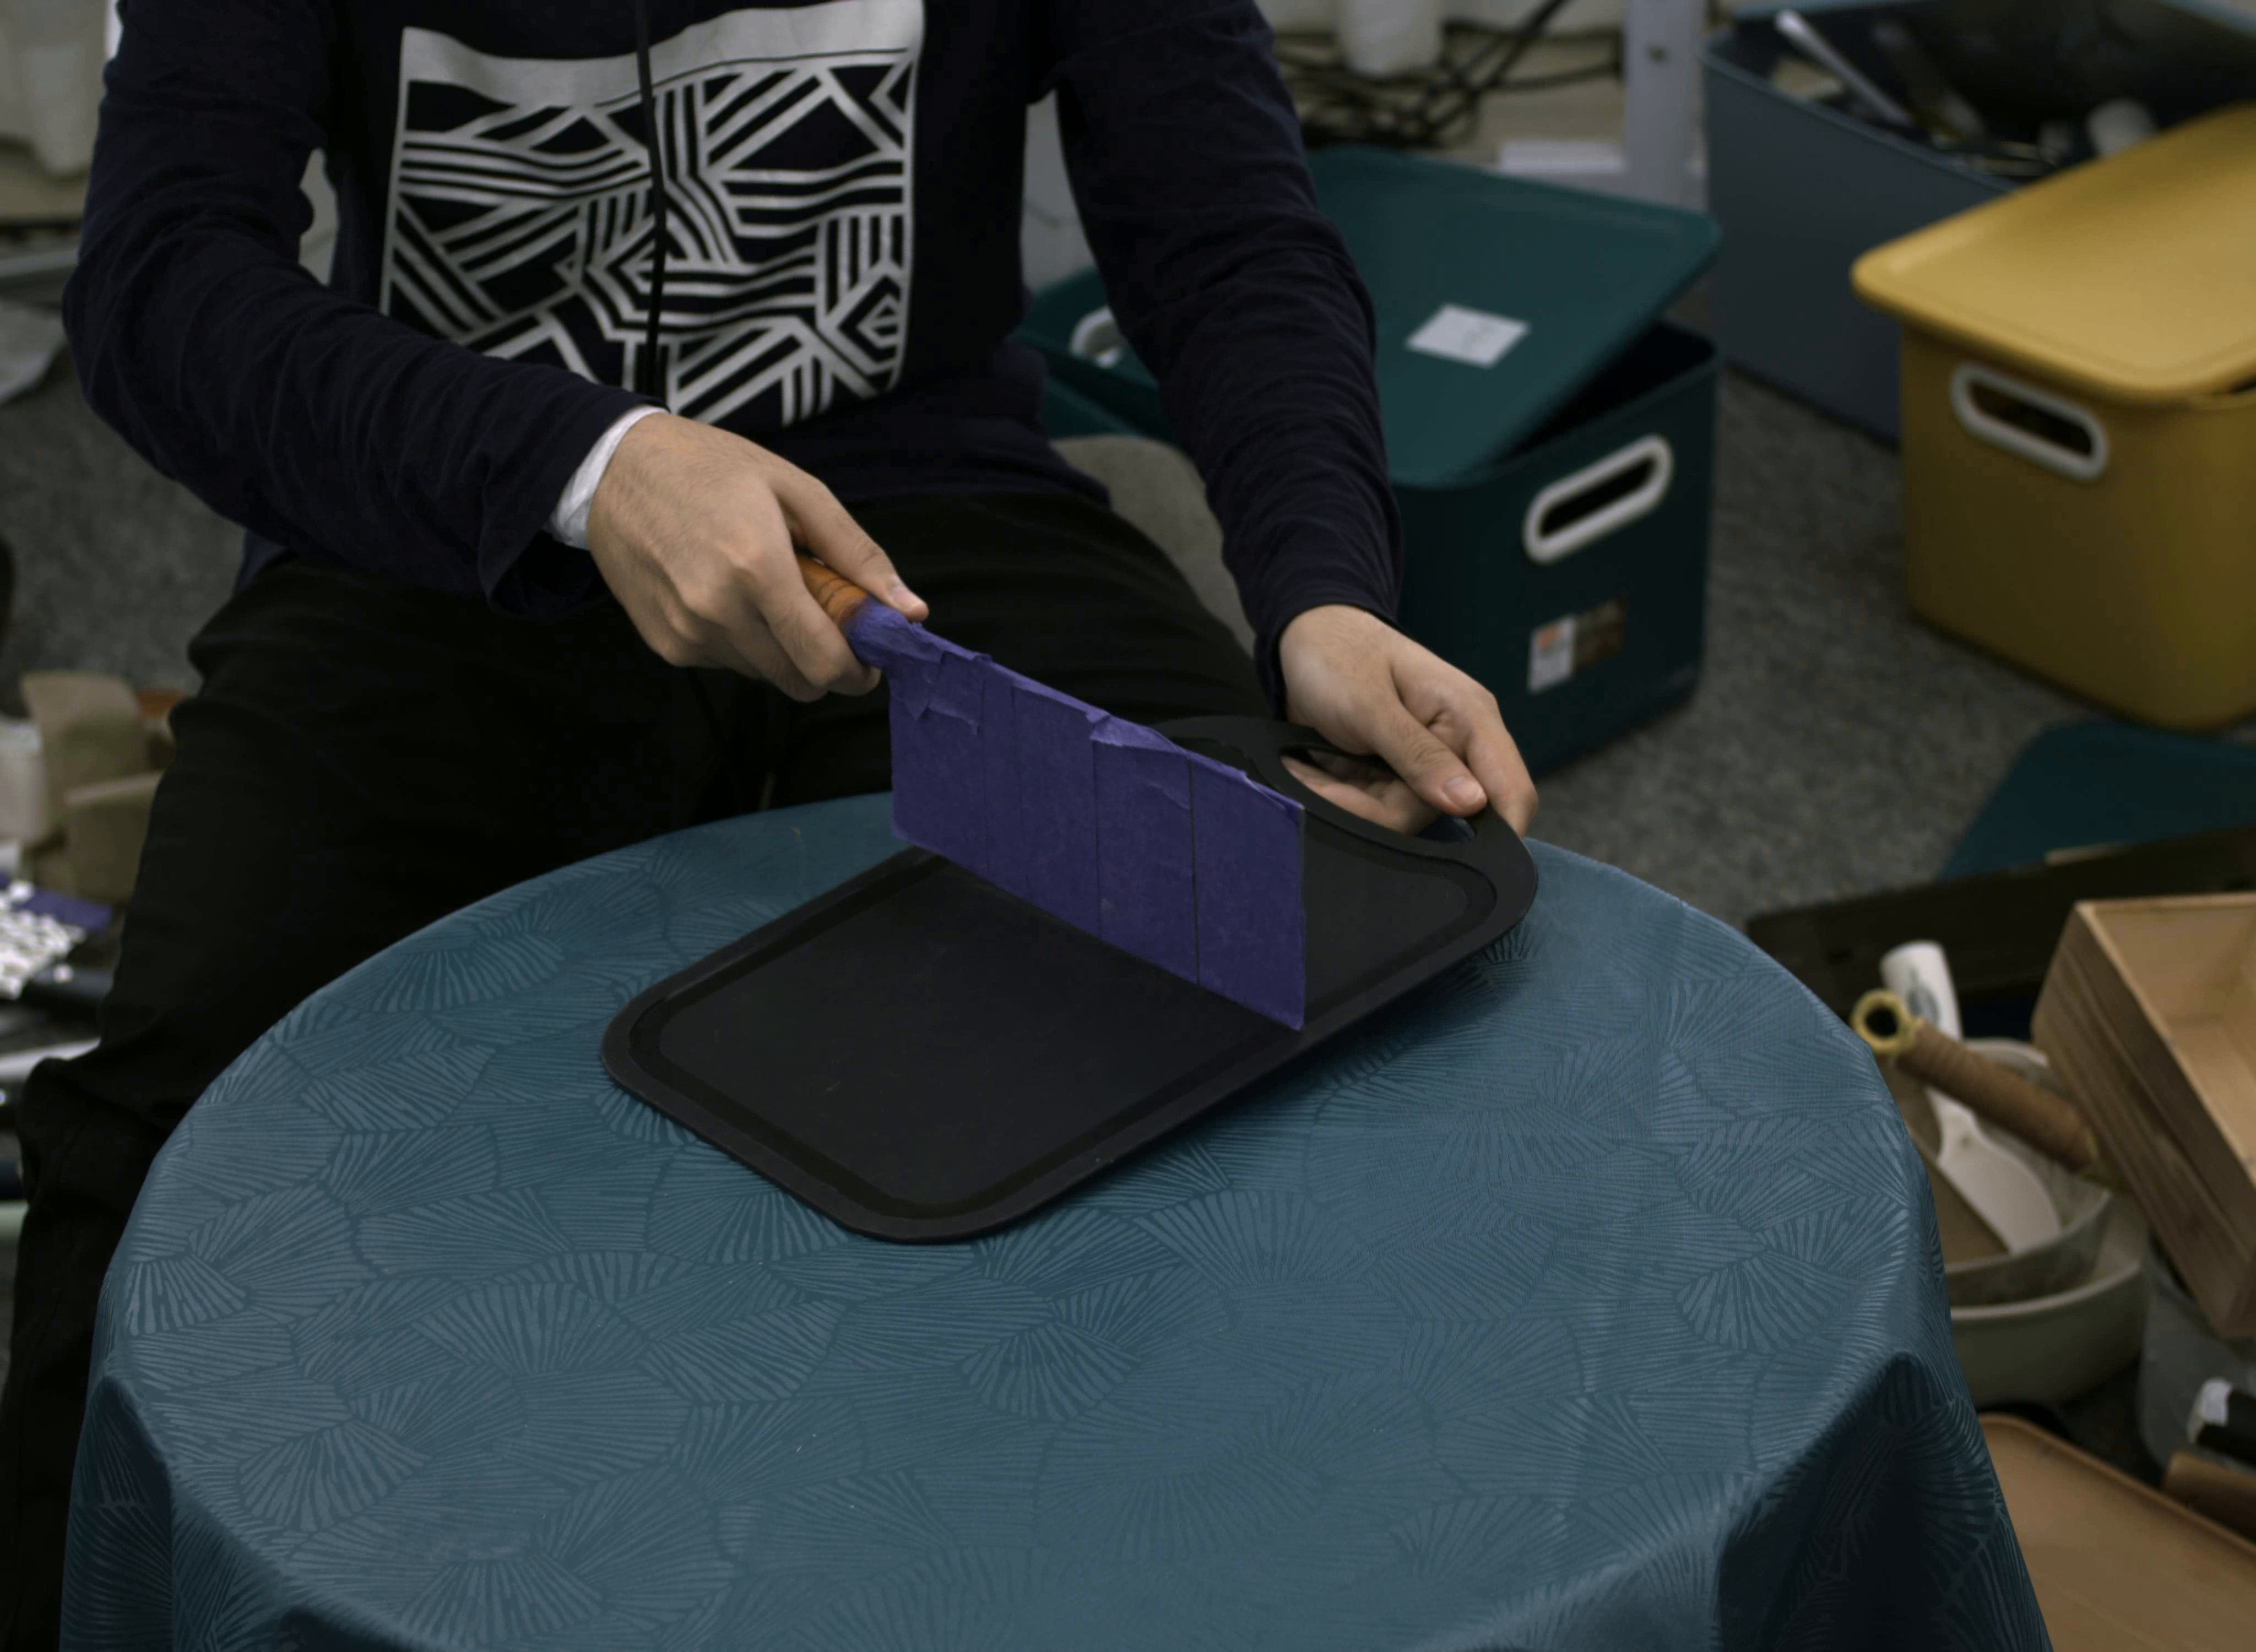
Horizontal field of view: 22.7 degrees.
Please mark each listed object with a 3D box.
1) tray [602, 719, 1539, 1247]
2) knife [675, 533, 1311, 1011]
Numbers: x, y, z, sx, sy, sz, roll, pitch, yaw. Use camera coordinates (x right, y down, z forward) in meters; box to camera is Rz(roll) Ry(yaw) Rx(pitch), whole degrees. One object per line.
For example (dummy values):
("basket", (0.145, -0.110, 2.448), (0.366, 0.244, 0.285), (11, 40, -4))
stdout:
("tray", (-0.014, 0.044, 1.978), (0.329, 0.009, 0.211), (-28, 37, -31))
("knife", (-0.051, -0.018, 1.993), (0.032, 0.103, 0.315), (-20, 33, -39))
